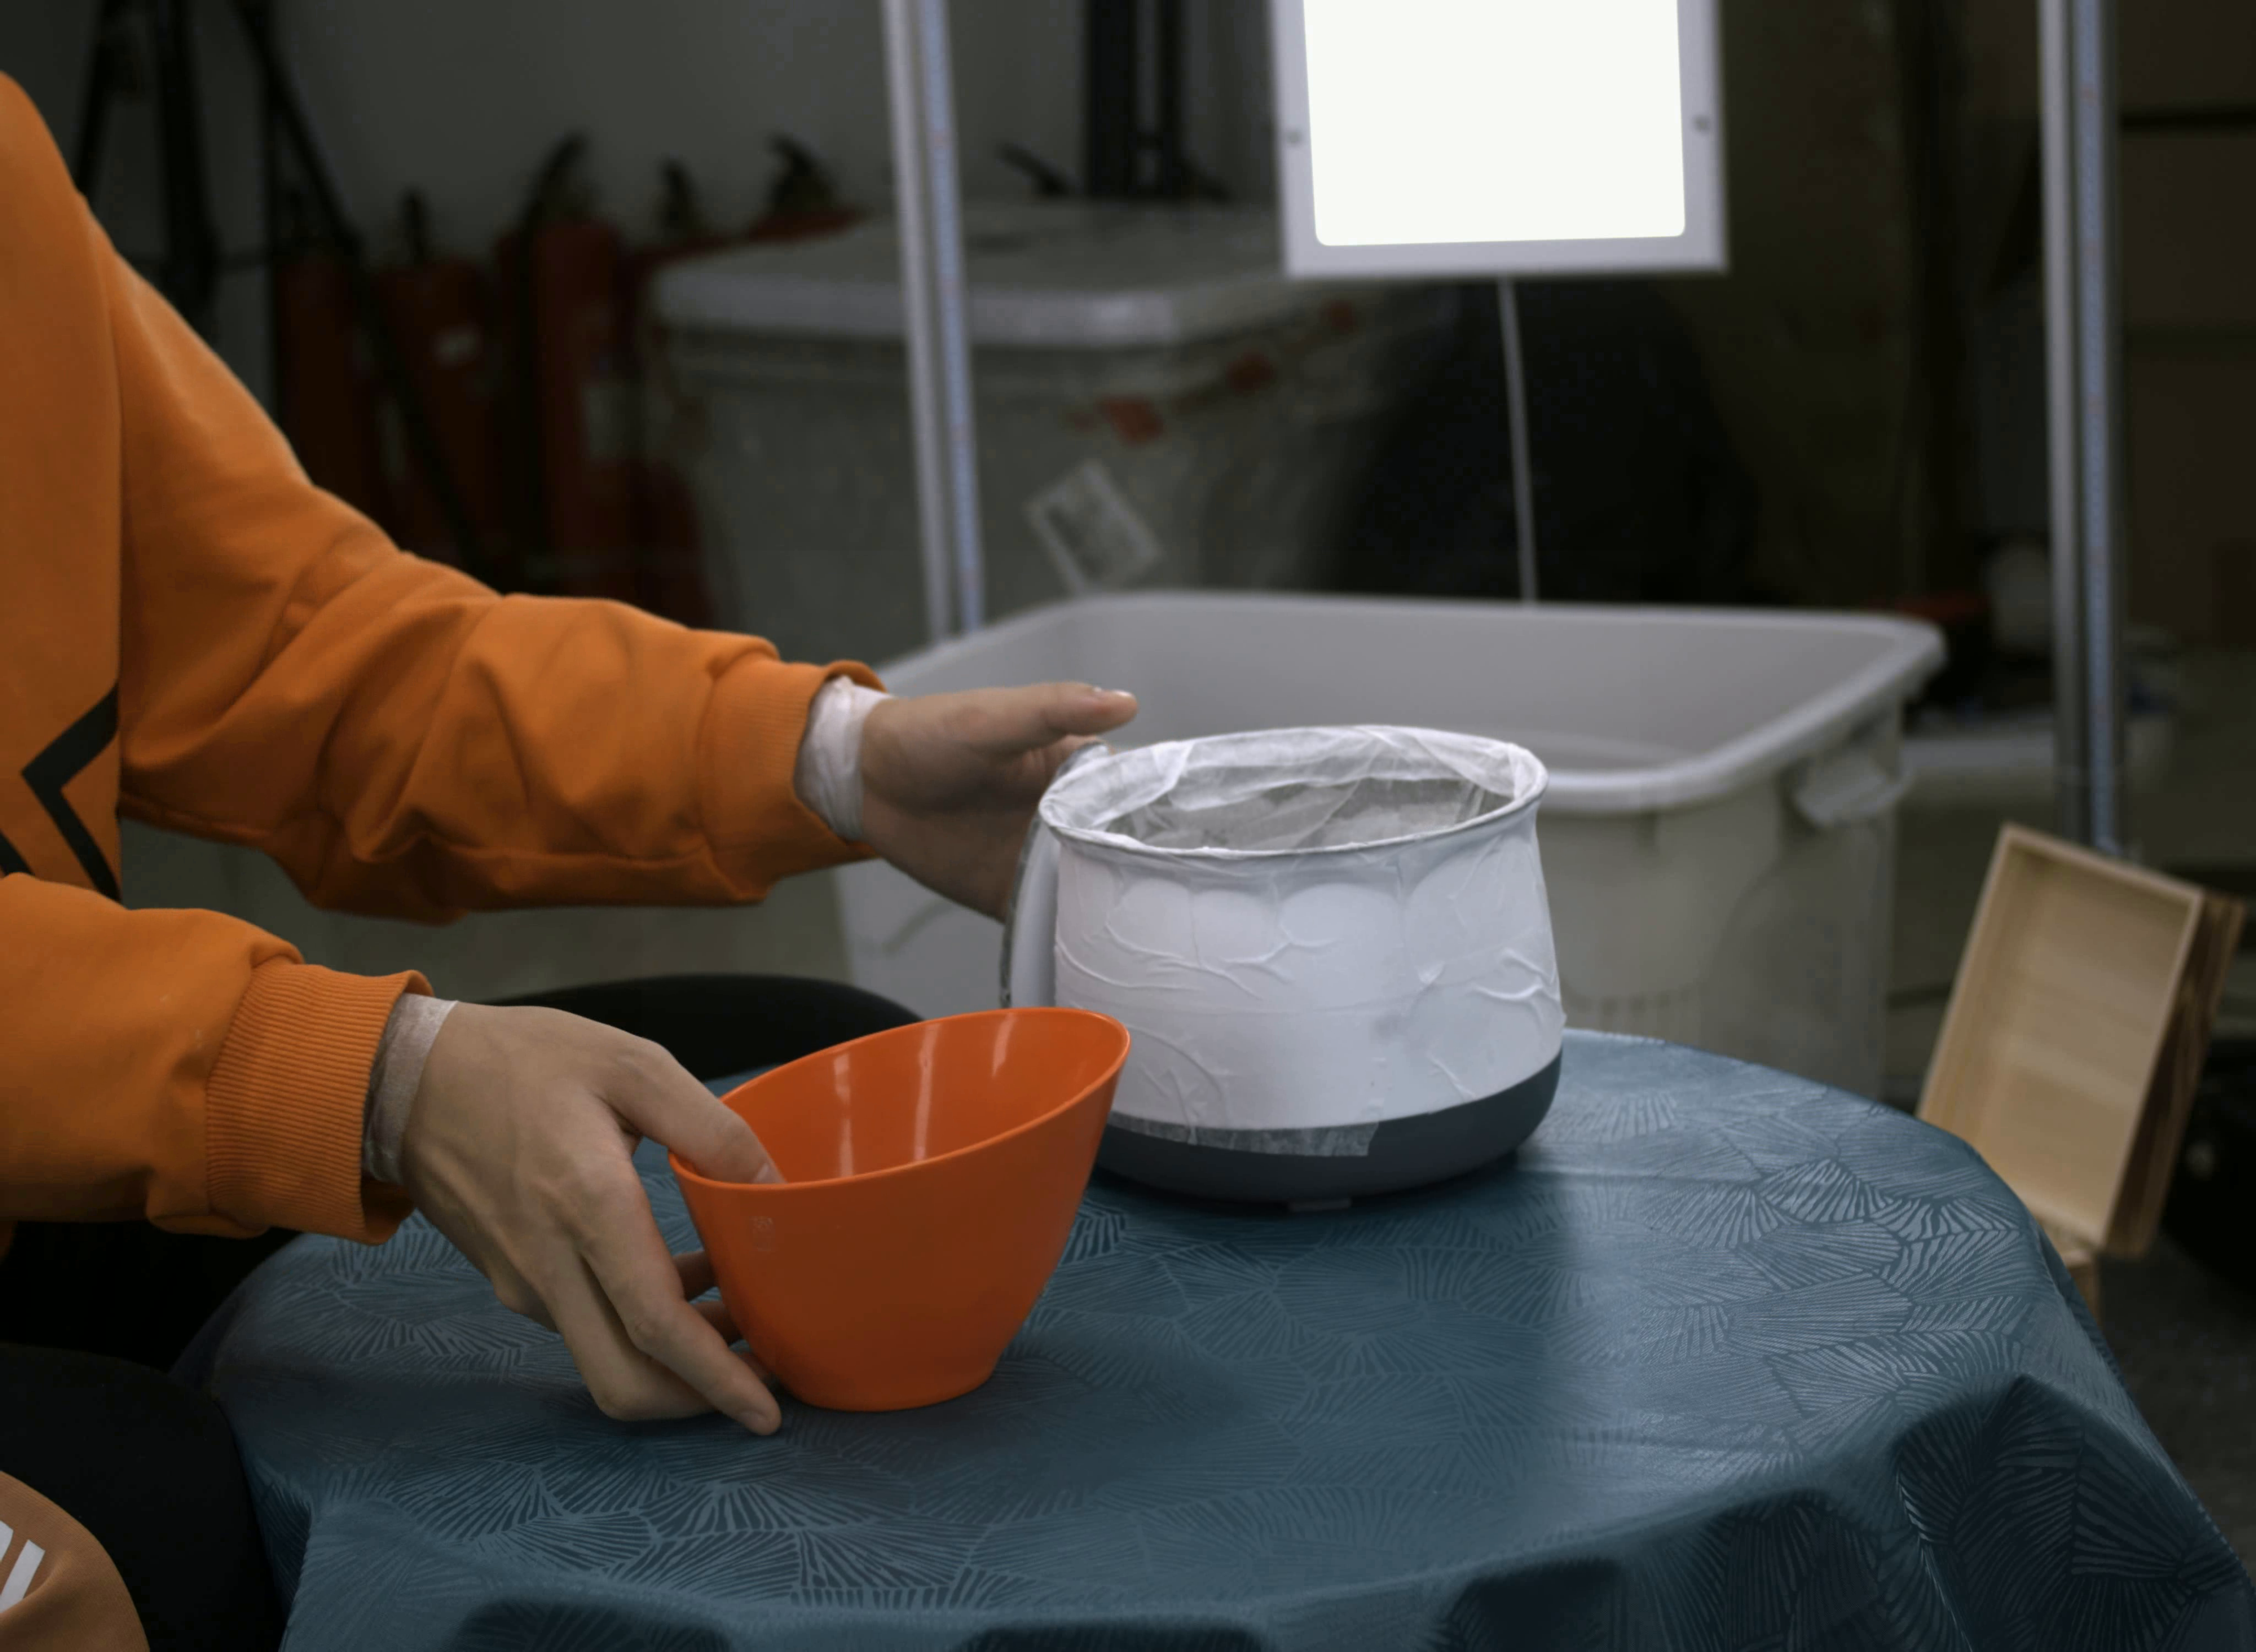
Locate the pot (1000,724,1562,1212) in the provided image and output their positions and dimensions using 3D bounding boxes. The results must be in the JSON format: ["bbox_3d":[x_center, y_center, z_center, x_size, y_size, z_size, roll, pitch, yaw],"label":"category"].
[{"bbox_3d":[0.042,0.044,1.928,0.174,0.137,0.239,-17,19,-42],"label":"pot"}]

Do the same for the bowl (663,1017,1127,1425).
[{"bbox_3d":[-0.069,0.126,1.723,0.147,0.105,0.148,-6,14,0],"label":"bowl"}]
